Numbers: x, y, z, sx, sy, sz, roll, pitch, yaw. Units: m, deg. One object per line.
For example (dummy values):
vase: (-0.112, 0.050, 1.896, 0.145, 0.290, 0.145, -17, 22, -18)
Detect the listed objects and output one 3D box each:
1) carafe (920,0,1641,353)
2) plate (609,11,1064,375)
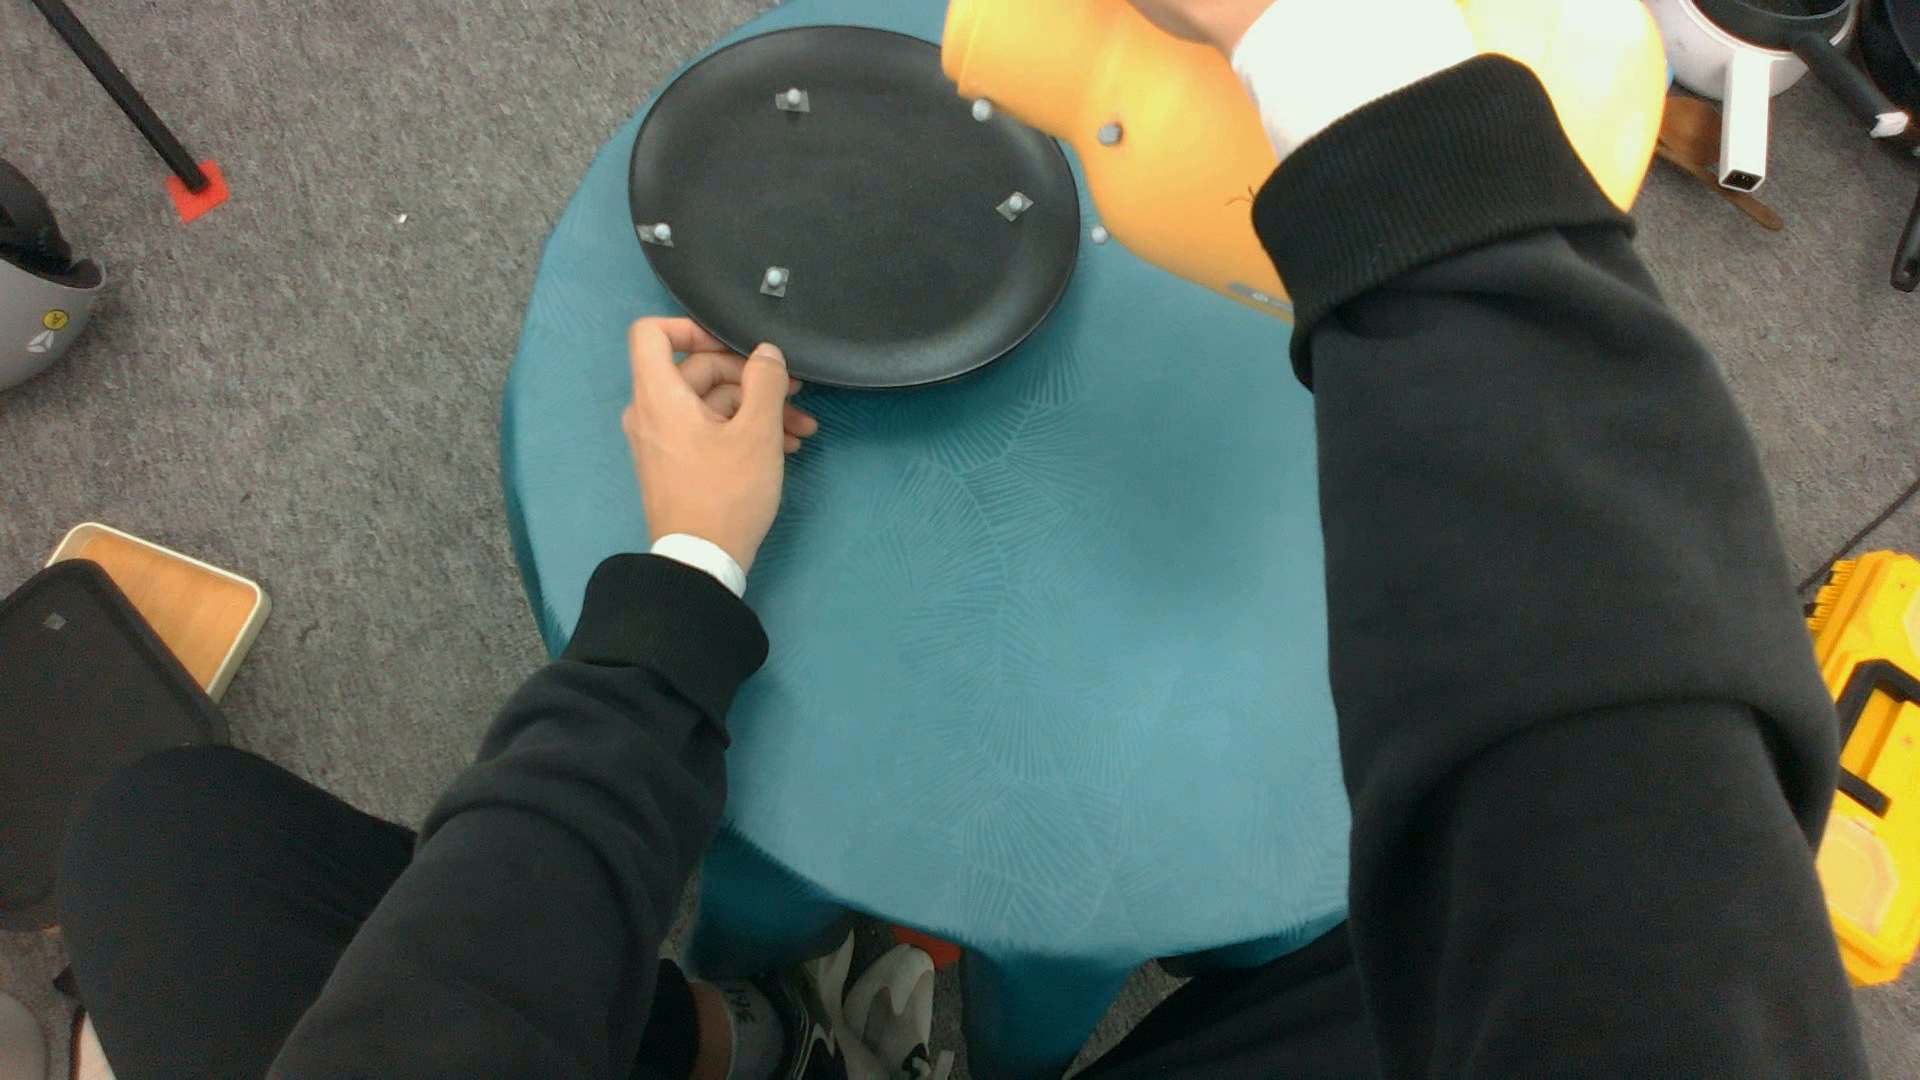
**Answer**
carafe: (0.116, -0.186, 0.526, 0.260, 0.202, 0.163, 19, 85, -2)
plate: (-0.064, -0.189, 0.746, 0.244, 0.023, 0.245, 5, 63, -9)
